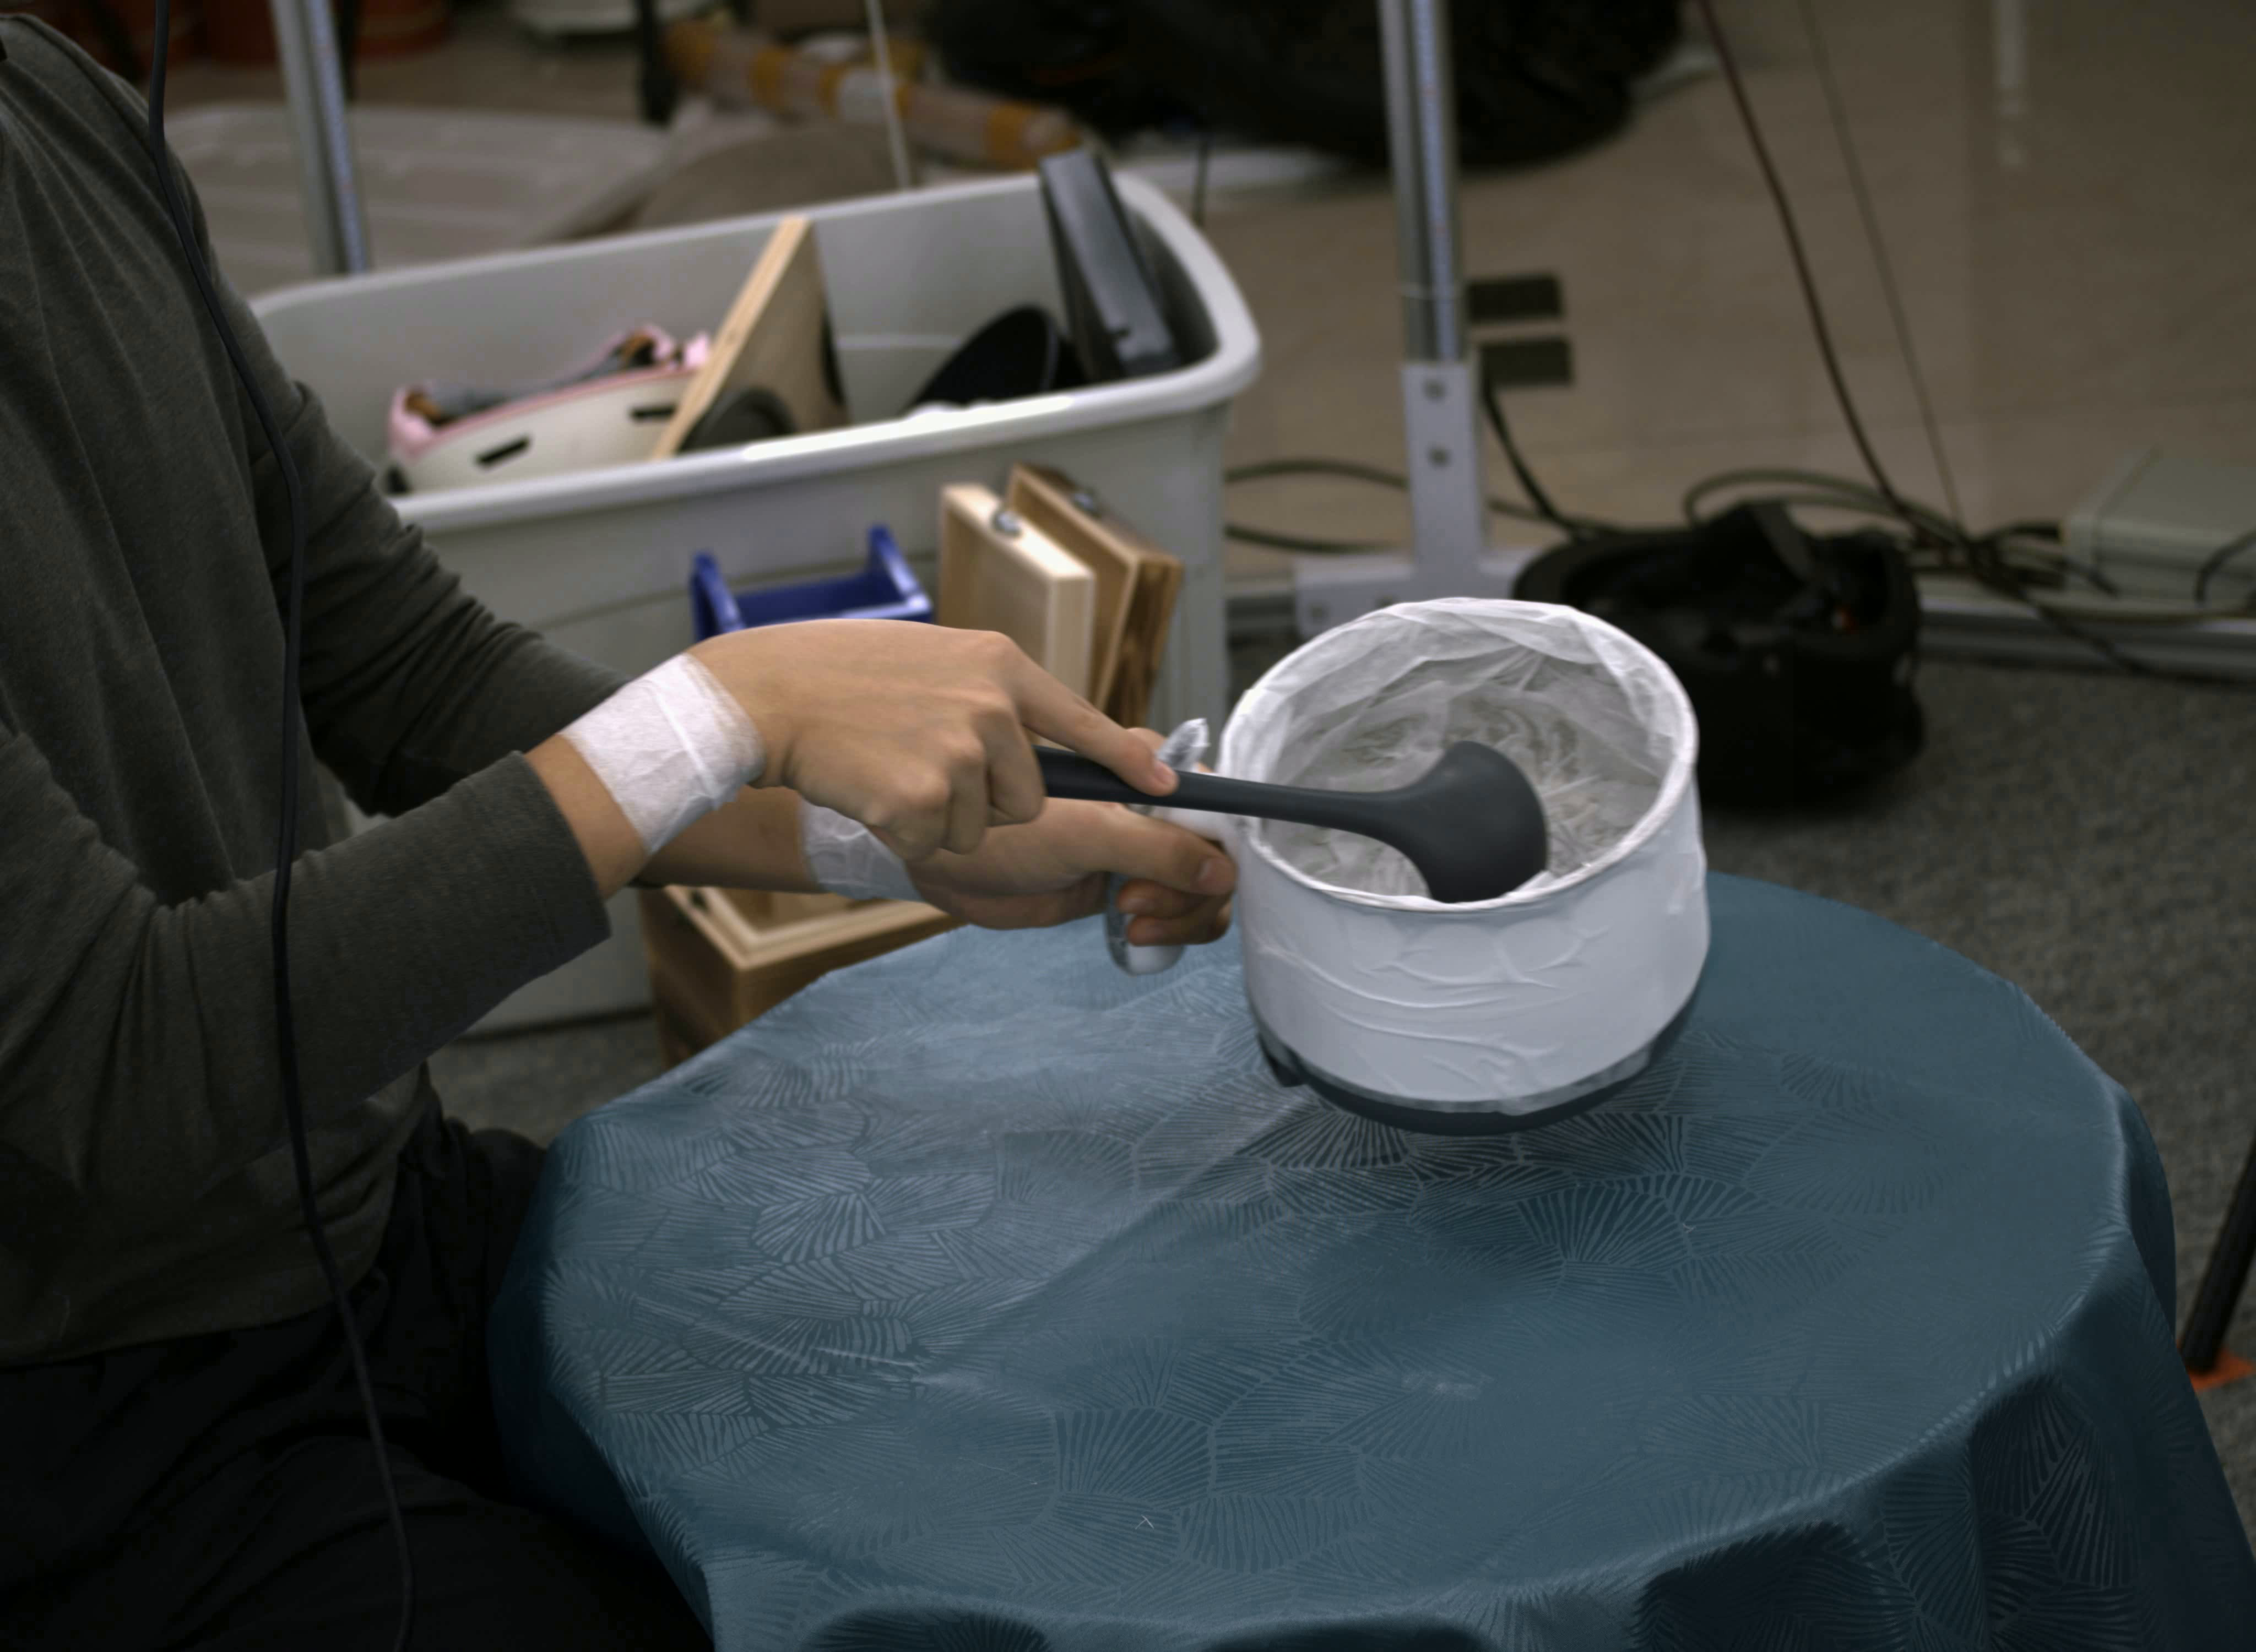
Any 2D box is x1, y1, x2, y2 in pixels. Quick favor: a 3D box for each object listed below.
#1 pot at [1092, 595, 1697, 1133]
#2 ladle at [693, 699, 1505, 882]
[{"bbox_3d":[0.097,0.017,2.134,0.233,0.139,0.175,3,42,13],"label":"pot"},{"bbox_3d":[-0.010,-0.012,2.081,0.314,0.064,0.085,6,68,-14],"label":"ladle"}]
